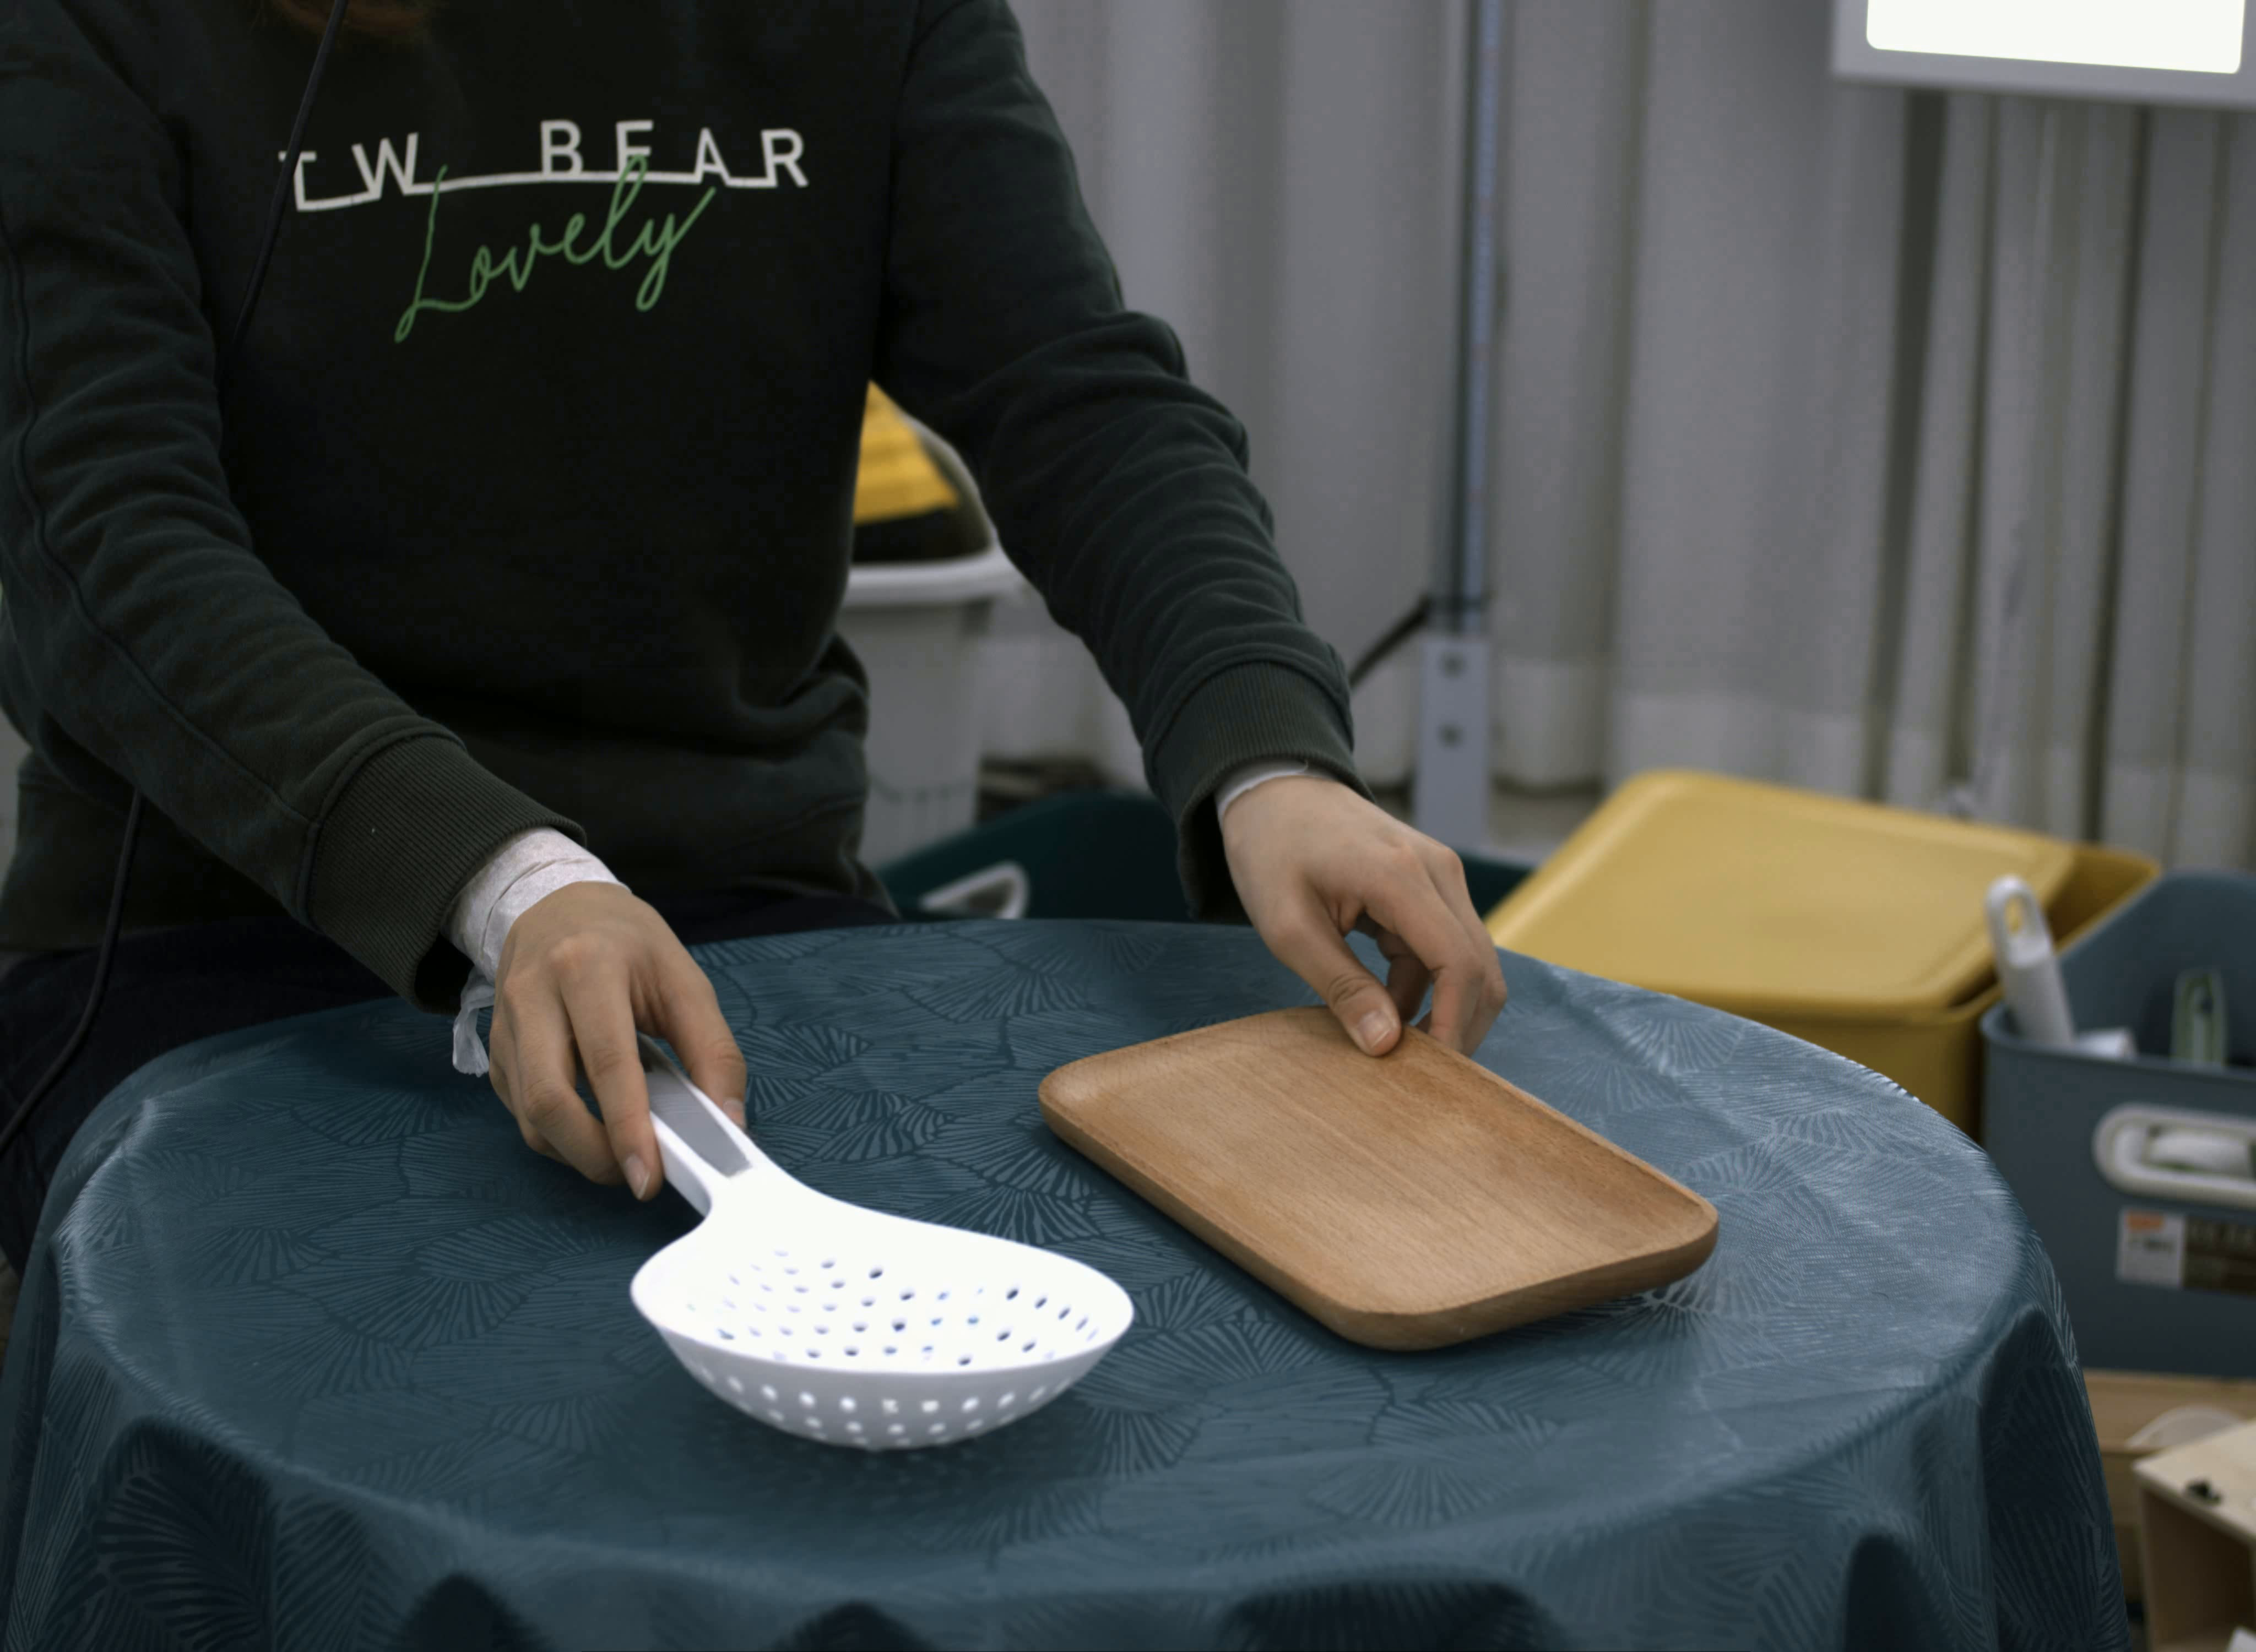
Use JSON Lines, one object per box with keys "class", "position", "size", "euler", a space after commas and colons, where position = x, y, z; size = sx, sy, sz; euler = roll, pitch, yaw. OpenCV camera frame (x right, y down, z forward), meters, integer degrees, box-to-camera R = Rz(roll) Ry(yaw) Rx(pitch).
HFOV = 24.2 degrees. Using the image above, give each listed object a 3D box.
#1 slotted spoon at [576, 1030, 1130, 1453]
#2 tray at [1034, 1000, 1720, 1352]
{"class": "slotted spoon", "position": [-0.105, 0.111, 1.521], "size": [0.136, 0.046, 0.345], "euler": [0, 18, -21]}
{"class": "tray", "position": [0.072, 0.104, 1.610], "size": [0.131, 0.023, 0.247], "euler": [-11, 18, -23]}
